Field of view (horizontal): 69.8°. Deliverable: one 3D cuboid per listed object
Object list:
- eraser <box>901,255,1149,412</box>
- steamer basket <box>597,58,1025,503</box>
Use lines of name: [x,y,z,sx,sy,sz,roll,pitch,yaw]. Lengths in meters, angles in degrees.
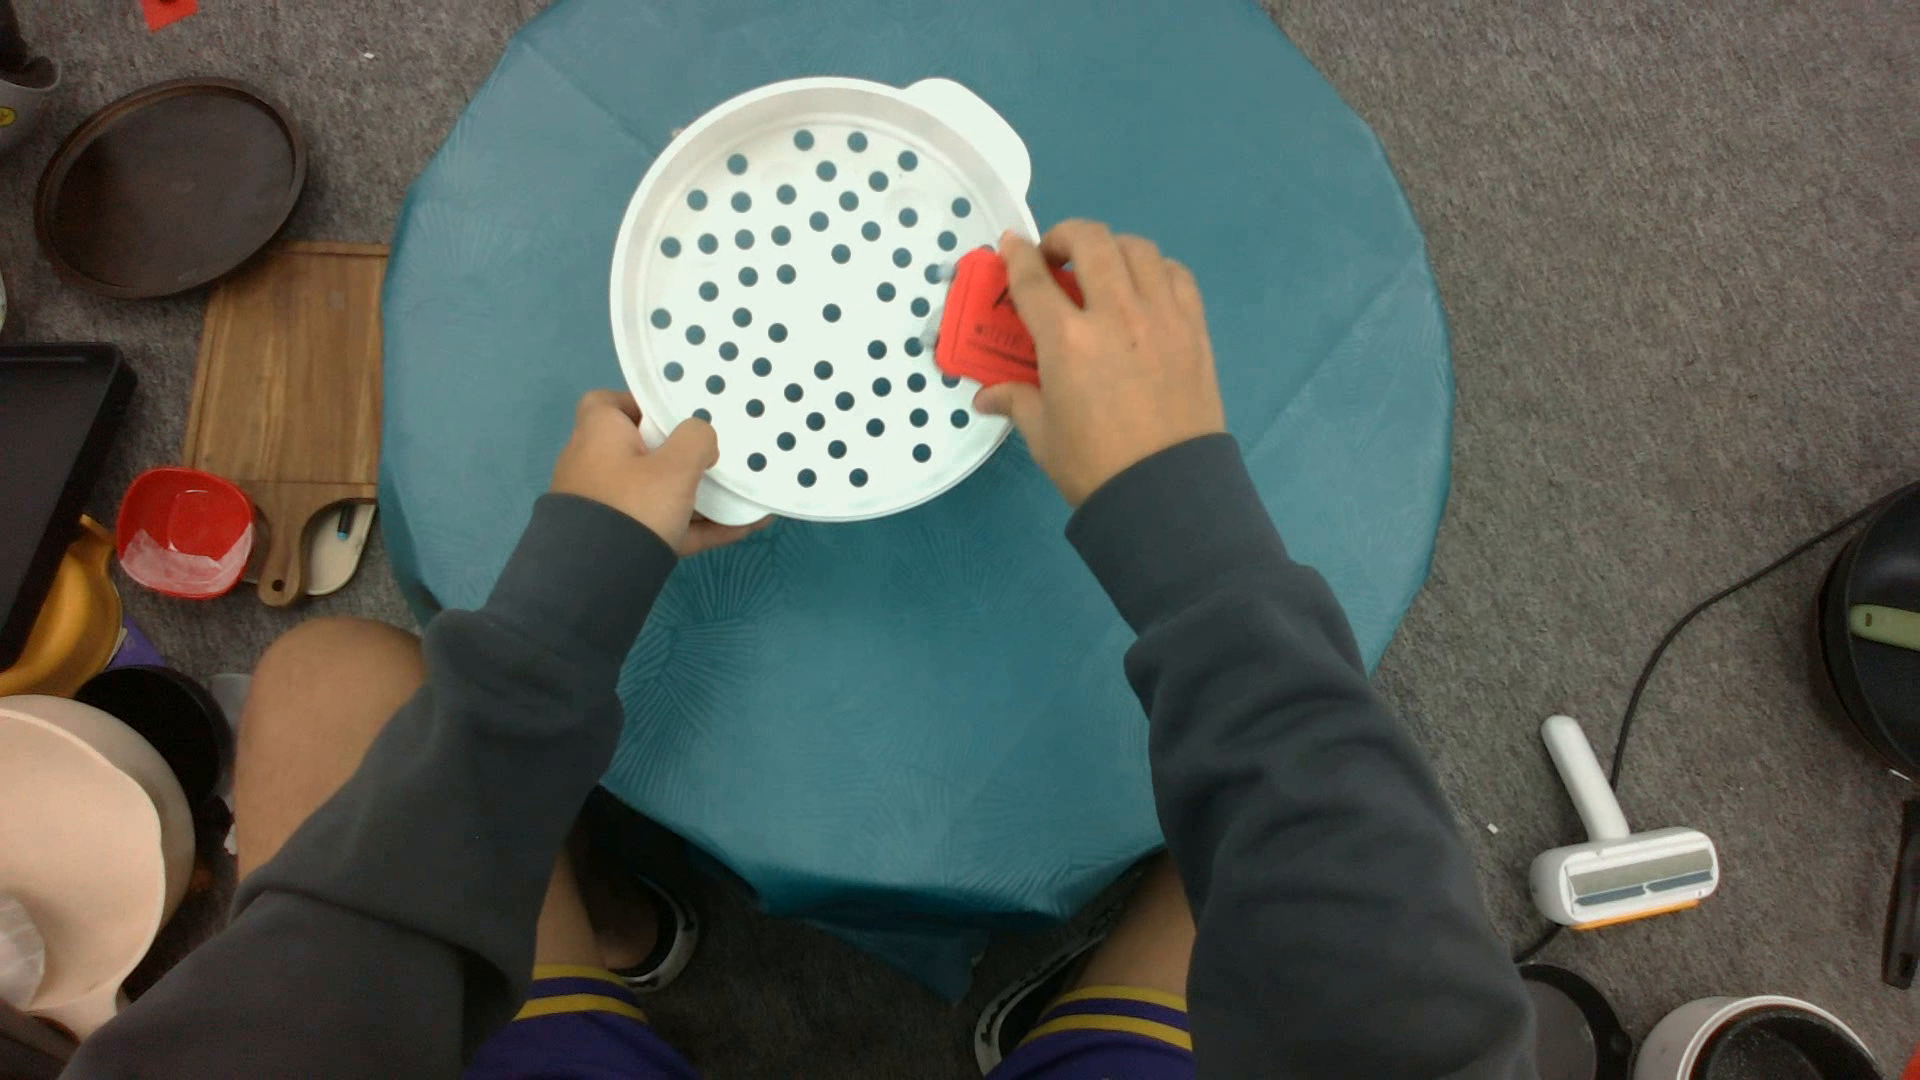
eraser: [0.030,-0.094,0.633,0.108,0.023,0.059,8,101,-11]
steamer basket: [-0.071,-0.125,0.672,0.202,0.069,0.230,37,92,-14]
